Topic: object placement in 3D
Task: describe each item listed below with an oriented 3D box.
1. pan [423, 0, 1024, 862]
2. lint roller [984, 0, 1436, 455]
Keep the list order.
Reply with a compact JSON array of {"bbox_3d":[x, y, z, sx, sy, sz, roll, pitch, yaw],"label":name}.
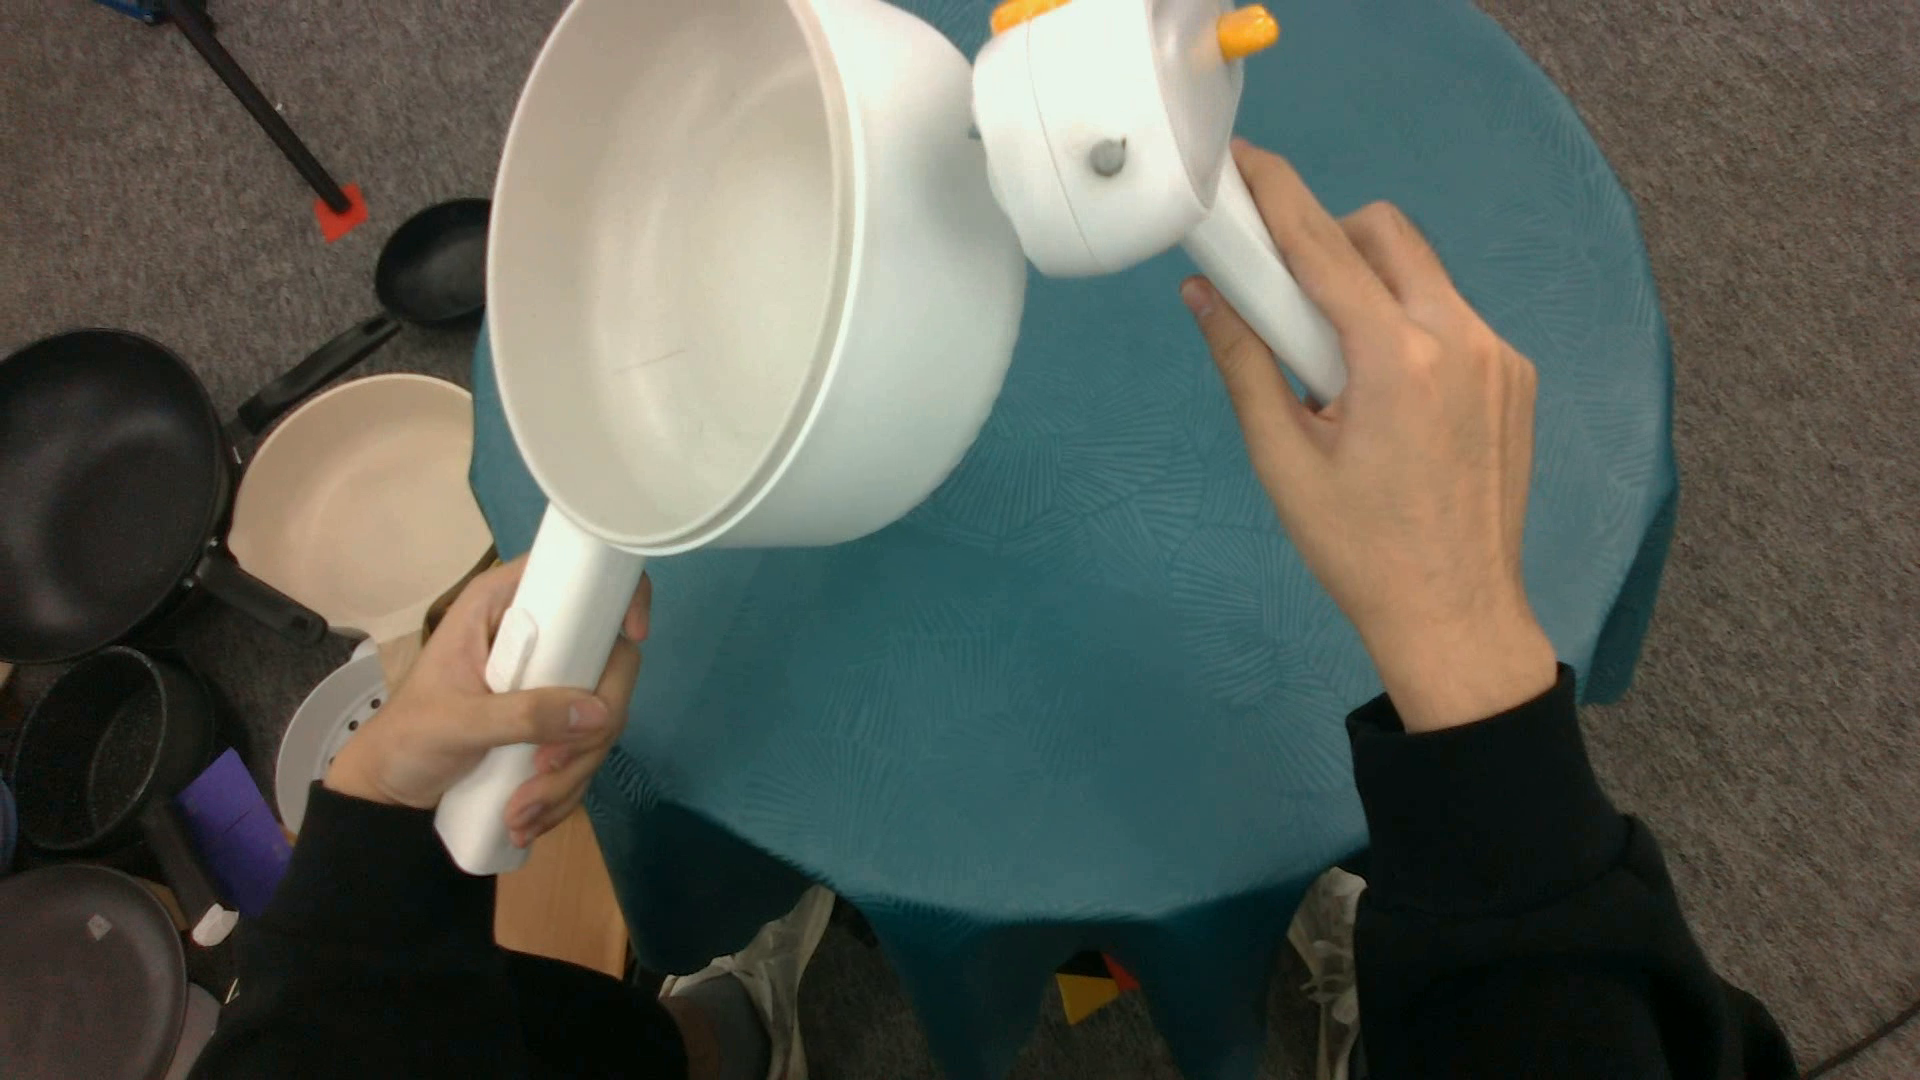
[{"bbox_3d":[-0.102,-0.032,0.512,0.201,0.102,0.353,40,115,35],"label":"pan"},{"bbox_3d":[0.084,-0.097,0.426,0.074,0.192,0.194,-25,27,22],"label":"lint roller"}]
